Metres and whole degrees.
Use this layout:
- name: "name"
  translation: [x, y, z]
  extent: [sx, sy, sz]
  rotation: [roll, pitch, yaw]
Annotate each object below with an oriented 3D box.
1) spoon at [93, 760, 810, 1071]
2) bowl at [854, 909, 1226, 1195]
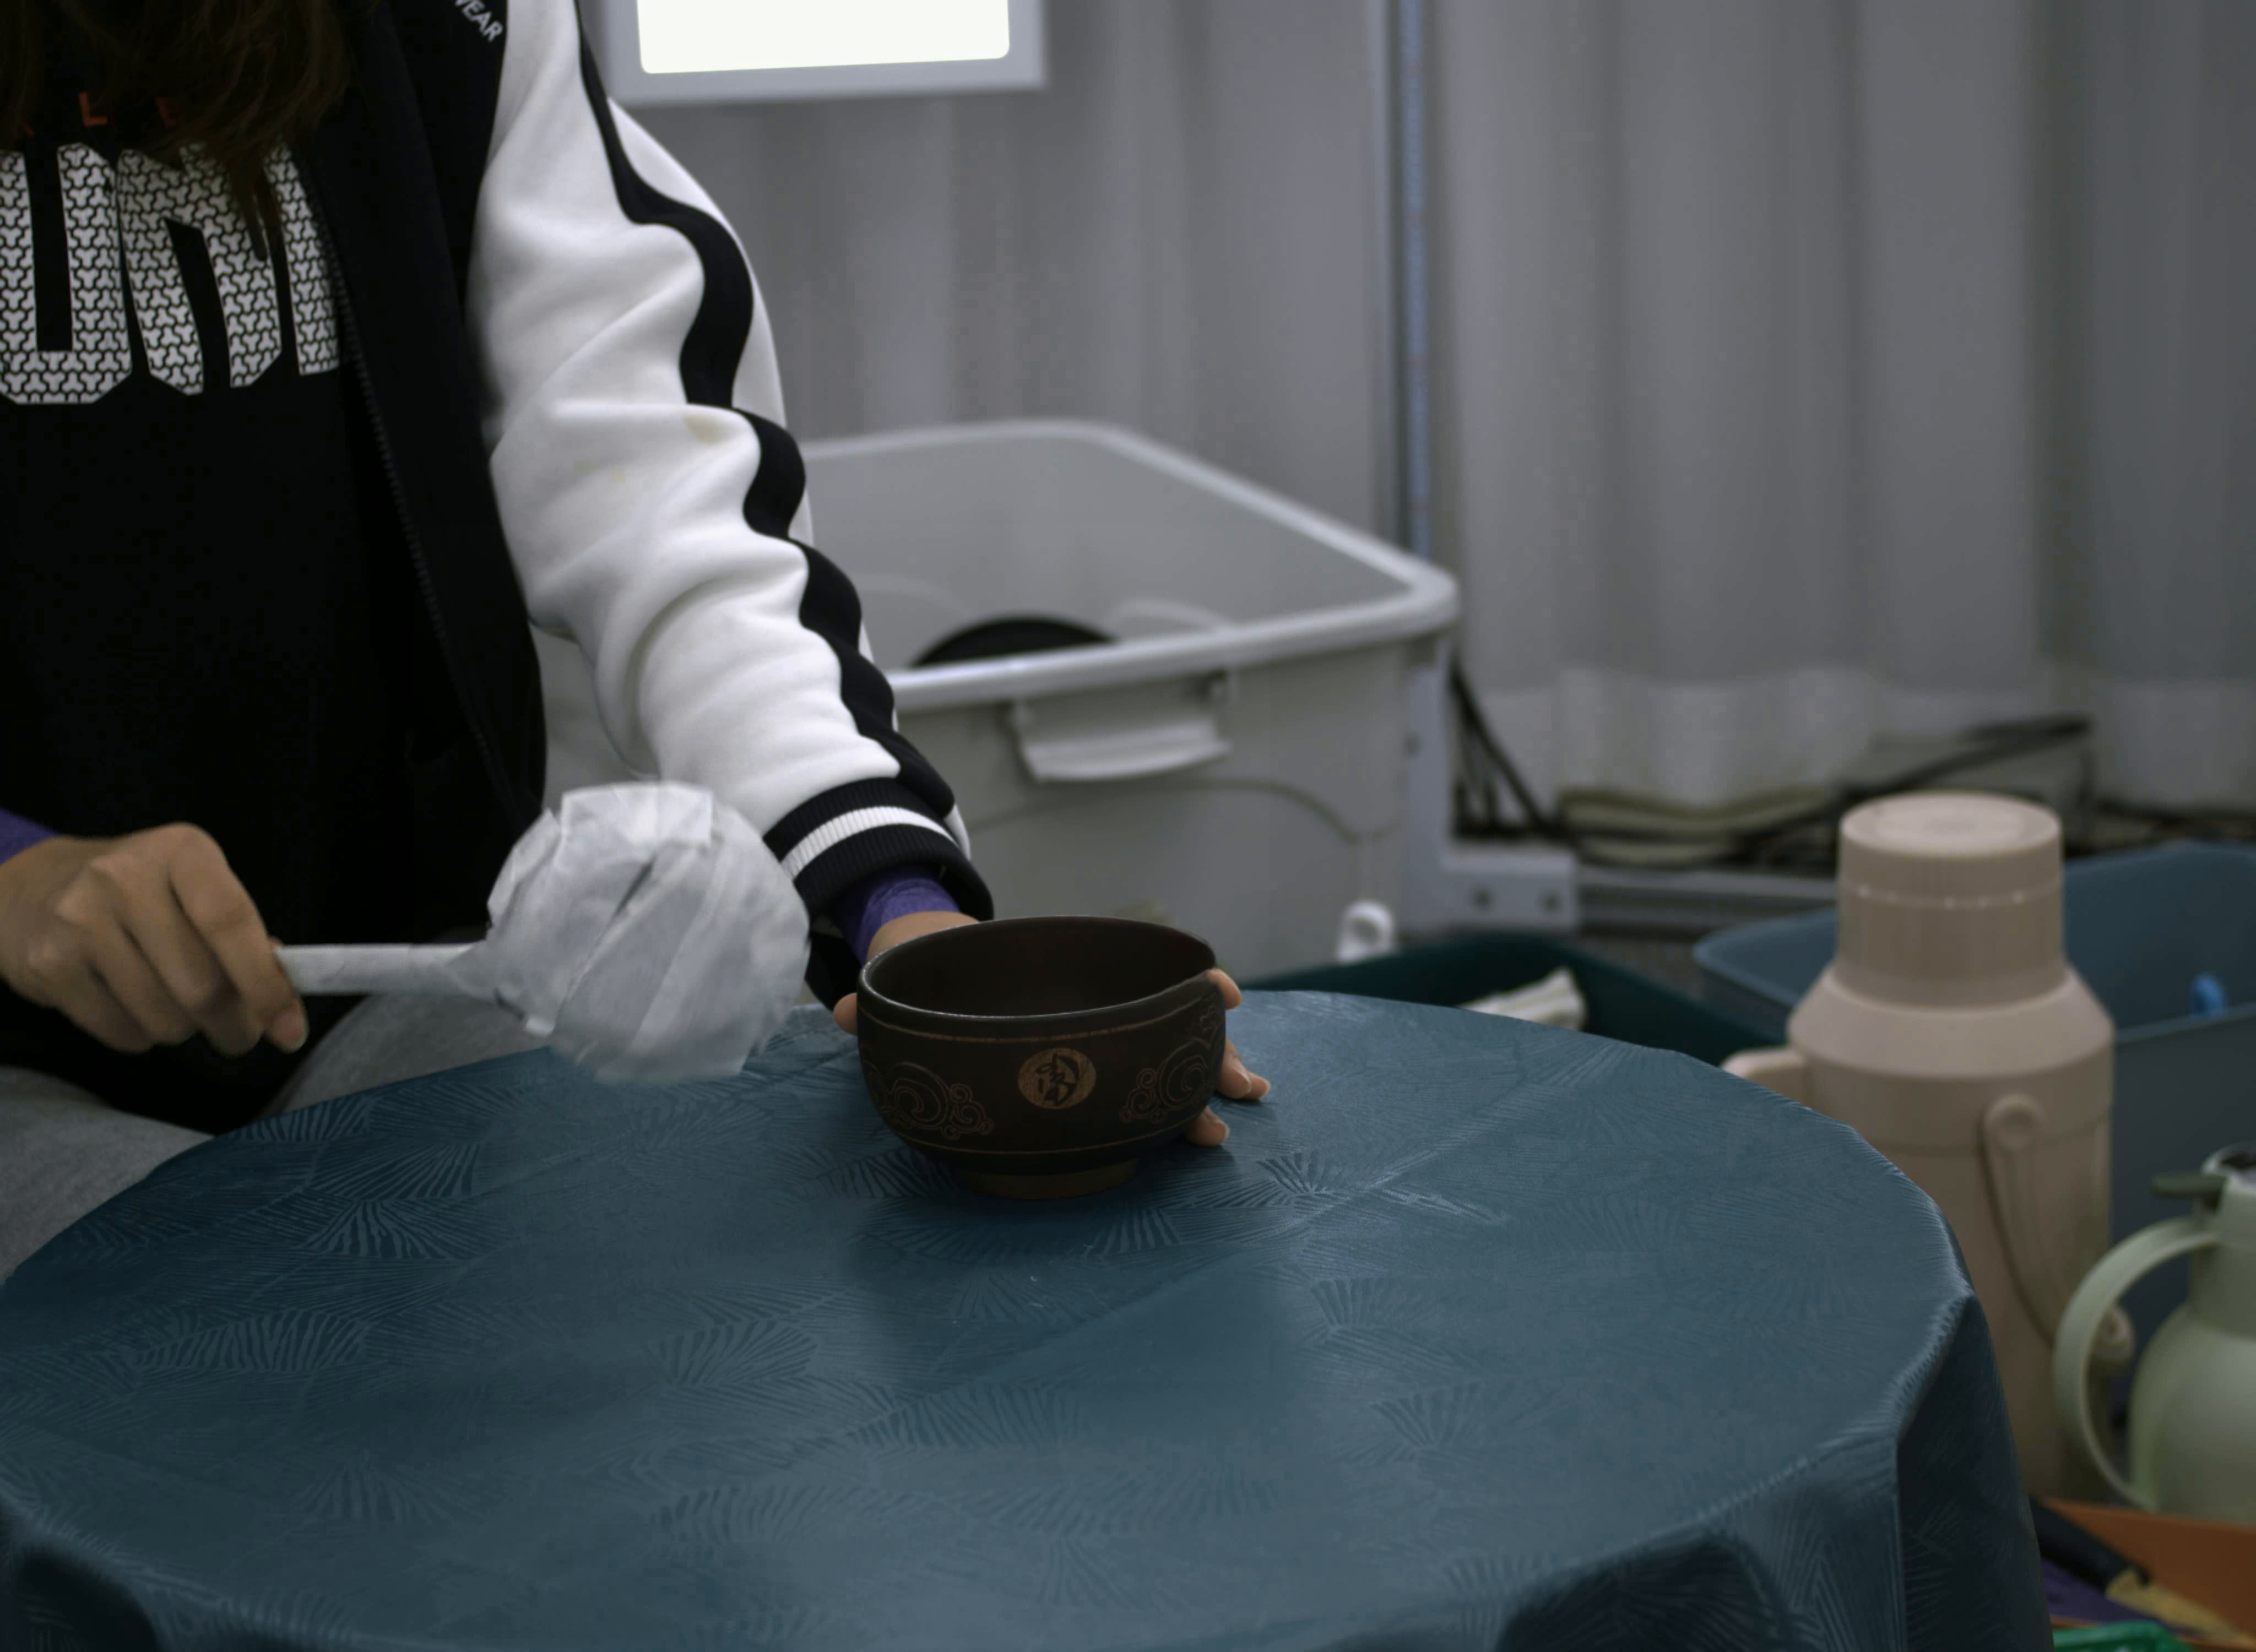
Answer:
- name: "spoon"
  translation: [-0.209, 0.035, 1.658]
  extent: [0.278, 0.100, 0.059]
  rotation: [-5, 19, 44]
- name: "bowl"
  translation: [-0.027, 0.075, 1.728]
  extent: [0.117, 0.069, 0.119]
  rotation: [-2, 14, 0]
